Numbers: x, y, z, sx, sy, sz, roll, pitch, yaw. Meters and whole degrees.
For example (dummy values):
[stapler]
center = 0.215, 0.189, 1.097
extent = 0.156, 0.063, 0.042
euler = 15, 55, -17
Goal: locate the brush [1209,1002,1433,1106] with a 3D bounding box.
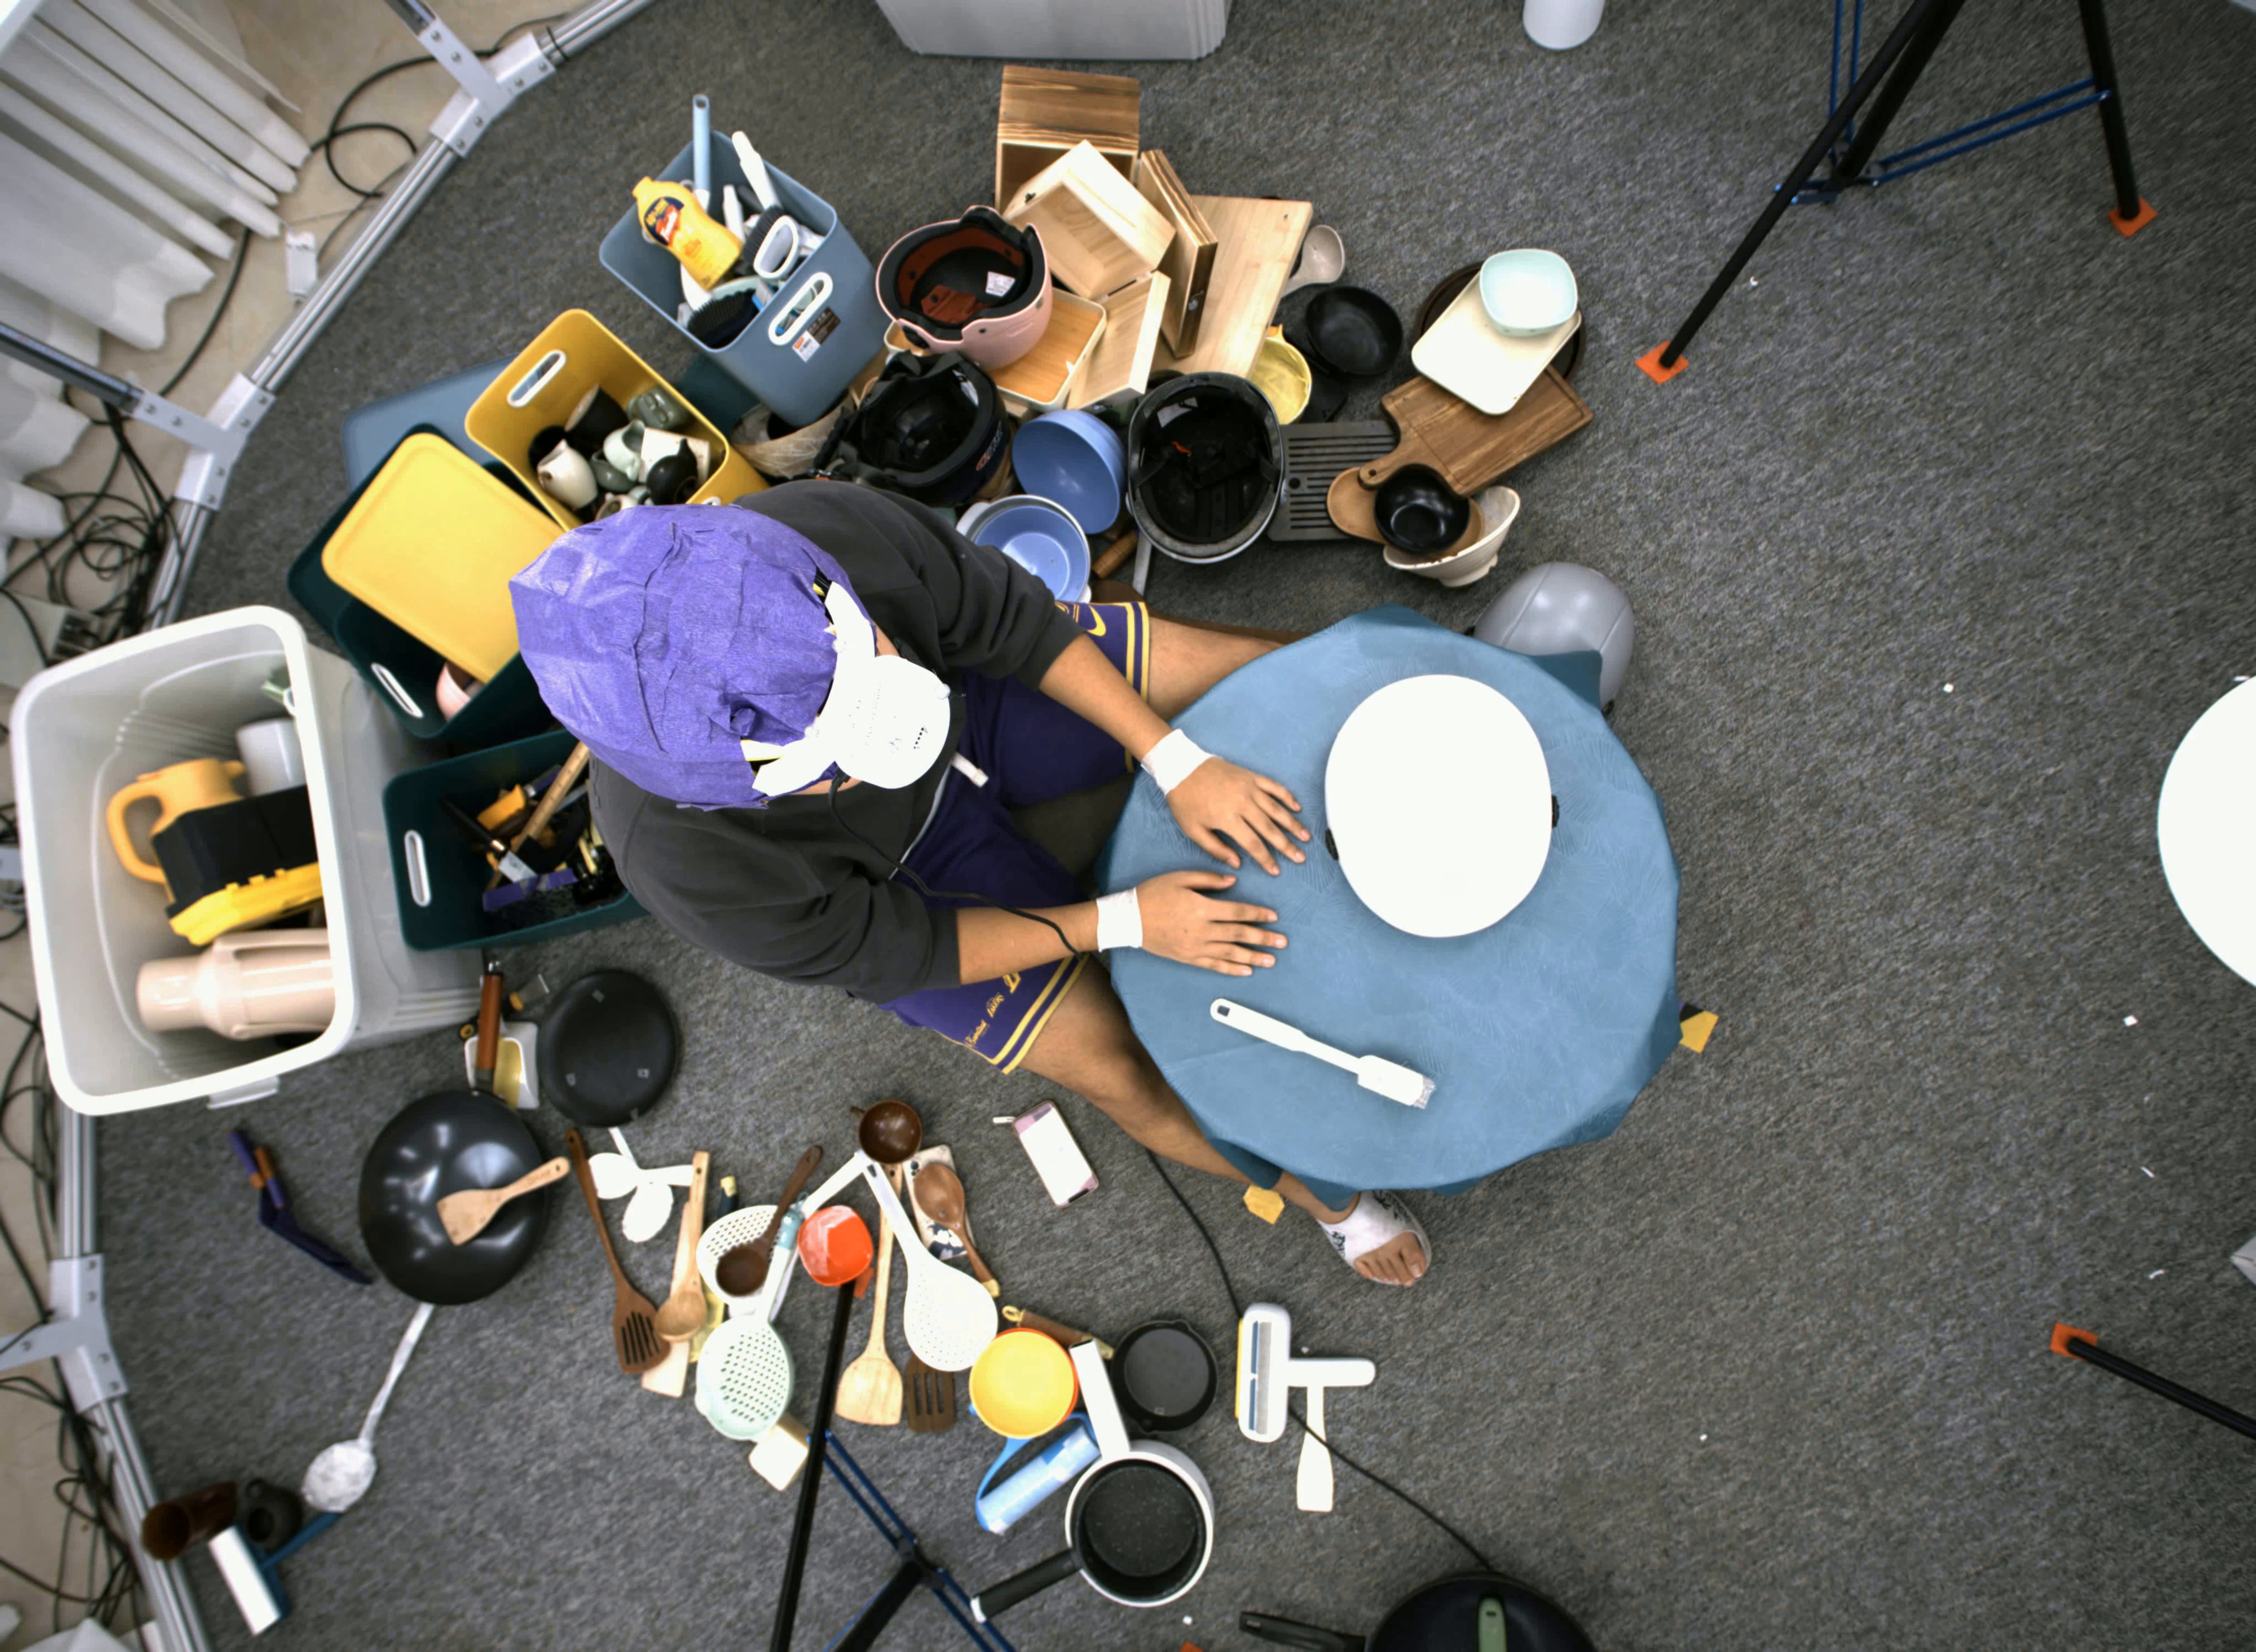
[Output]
[brush]
center = 0.200, 0.235, 1.451
extent = 0.243, 0.050, 0.034
euler = 18, 84, 24

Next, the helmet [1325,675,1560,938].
[helmet]
center = 0.313, -0.026, 1.374
extent = 0.238, 0.167, 0.267
euler = -7, 85, 9
